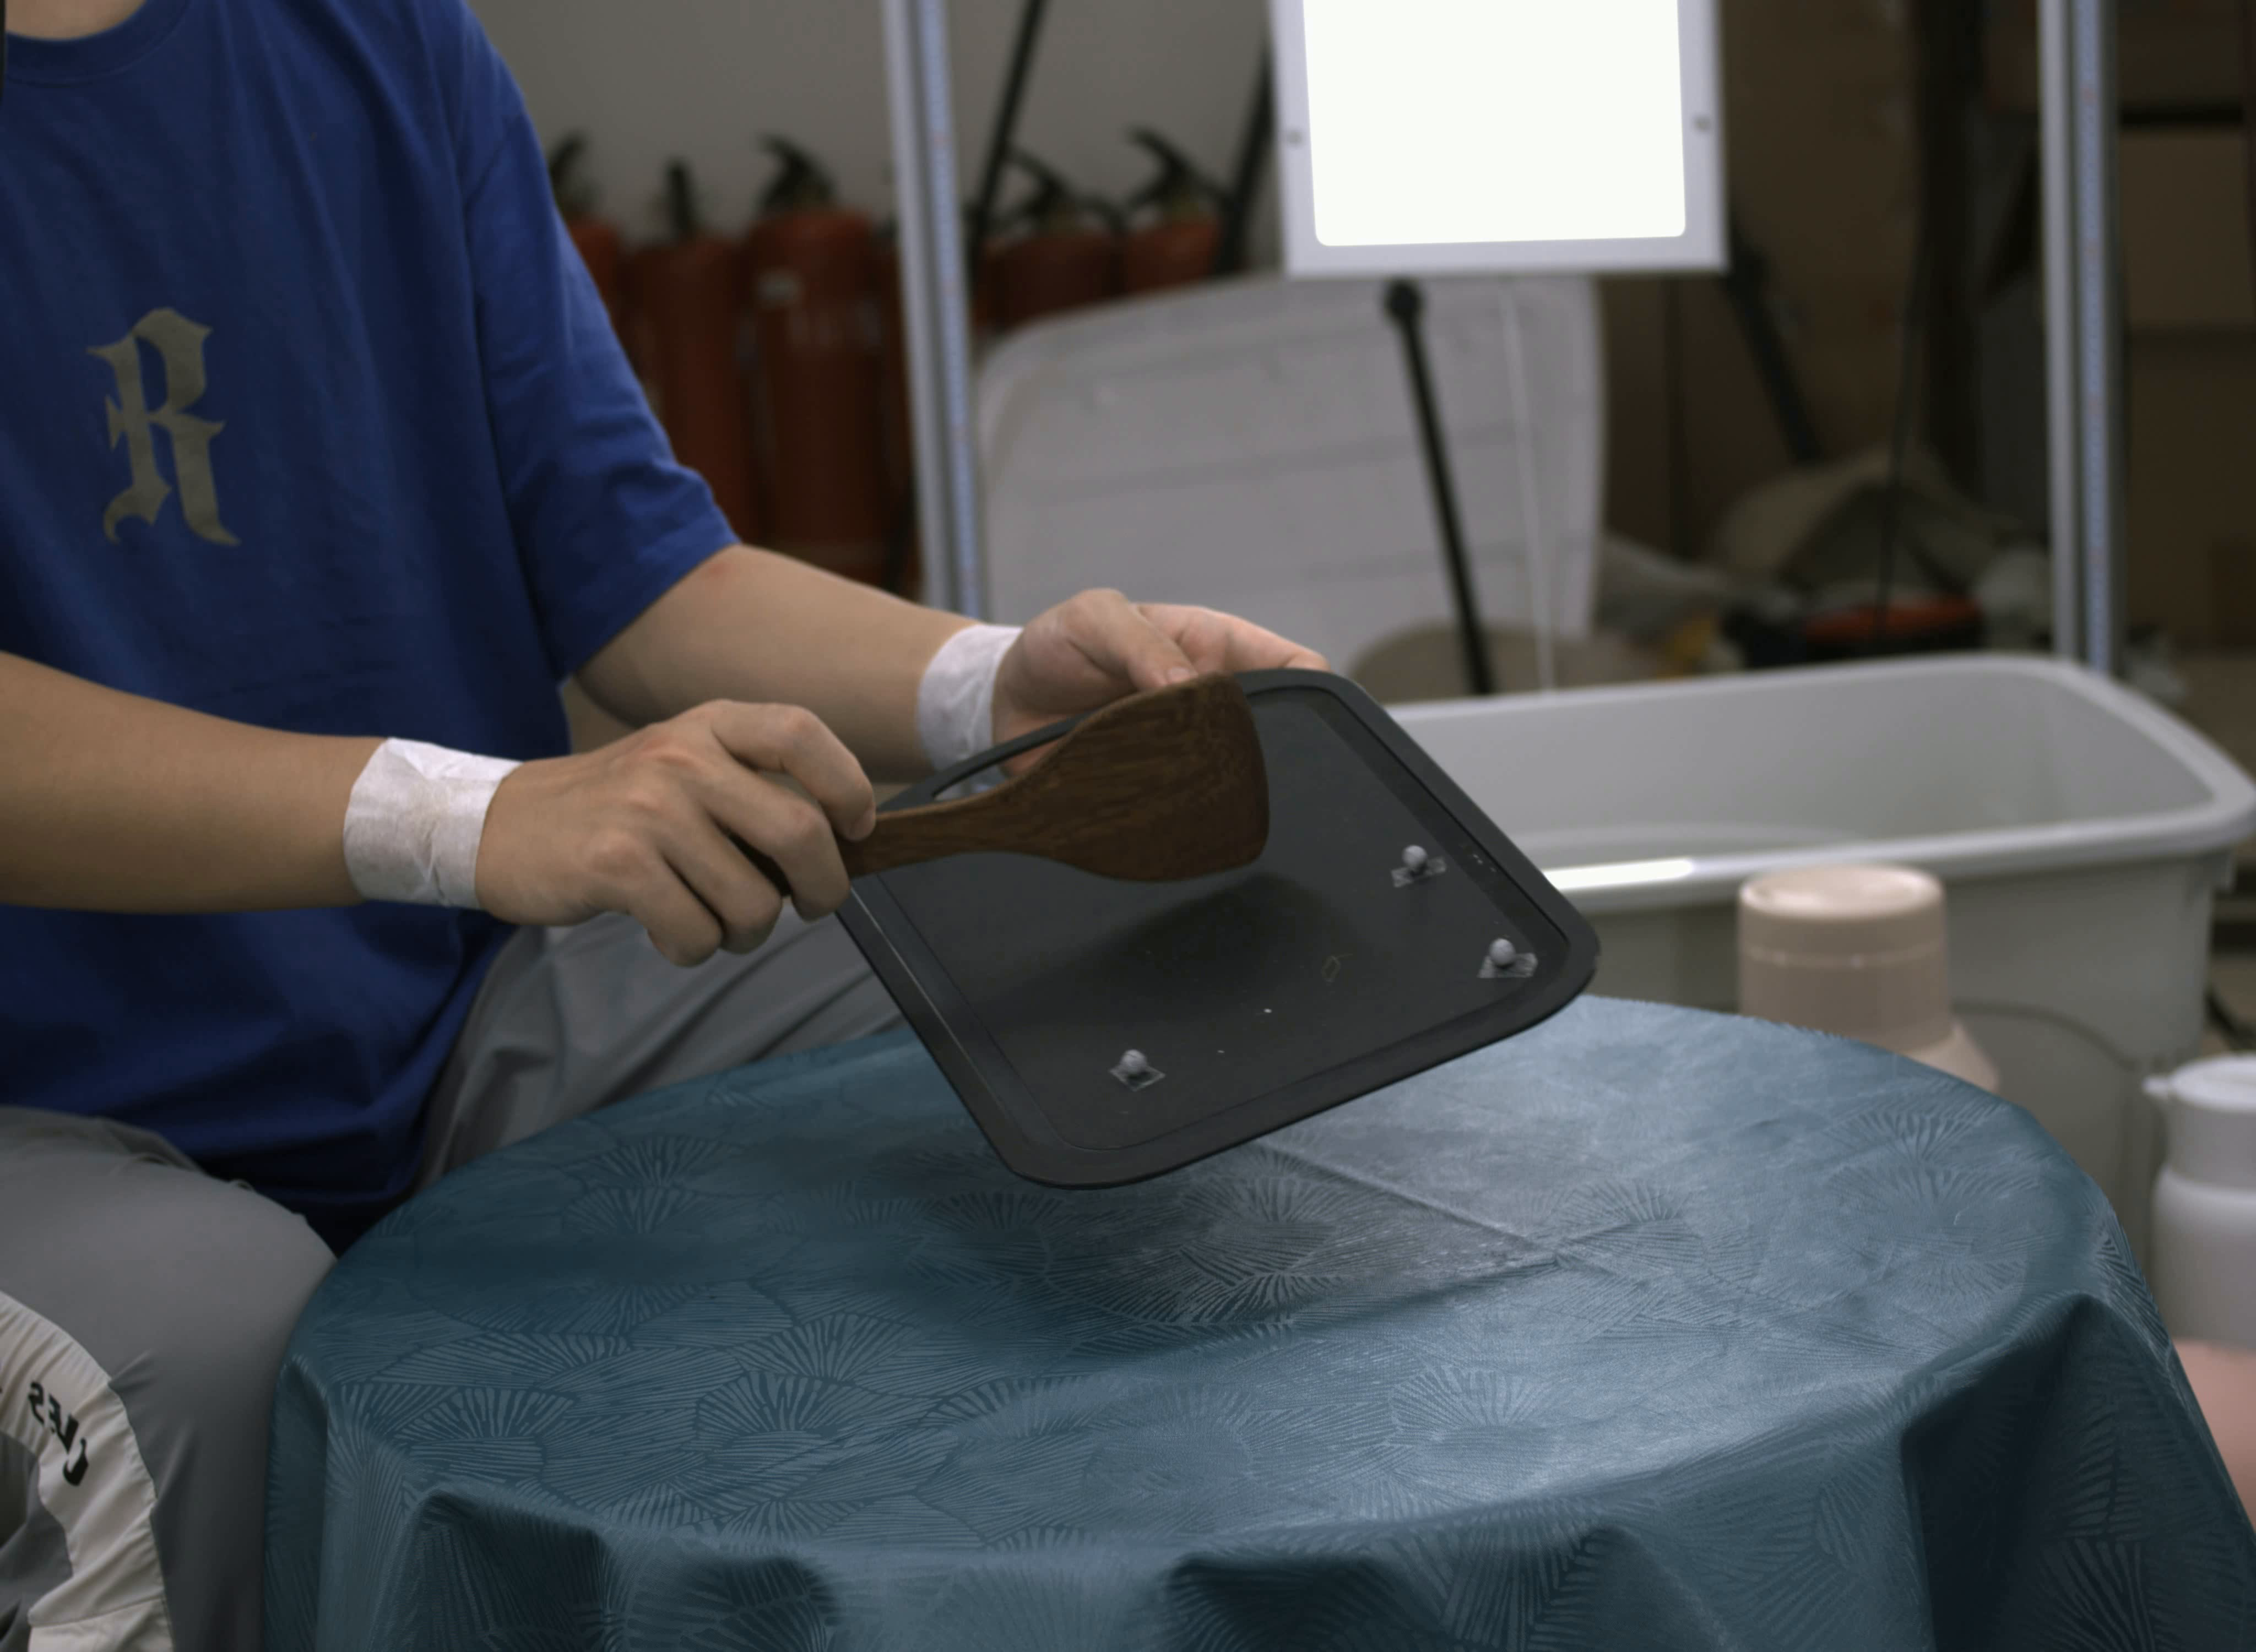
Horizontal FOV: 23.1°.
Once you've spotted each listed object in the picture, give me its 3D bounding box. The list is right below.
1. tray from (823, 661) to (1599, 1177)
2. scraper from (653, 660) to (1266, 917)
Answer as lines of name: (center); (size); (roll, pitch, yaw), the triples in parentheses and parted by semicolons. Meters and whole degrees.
tray: (0.018, 0.022, 1.880); (0.209, 0.010, 0.328); (-22, 28, -9)
scraper: (-0.057, -0.002, 1.868); (0.211, 0.076, 0.011); (-12, 27, 3)
